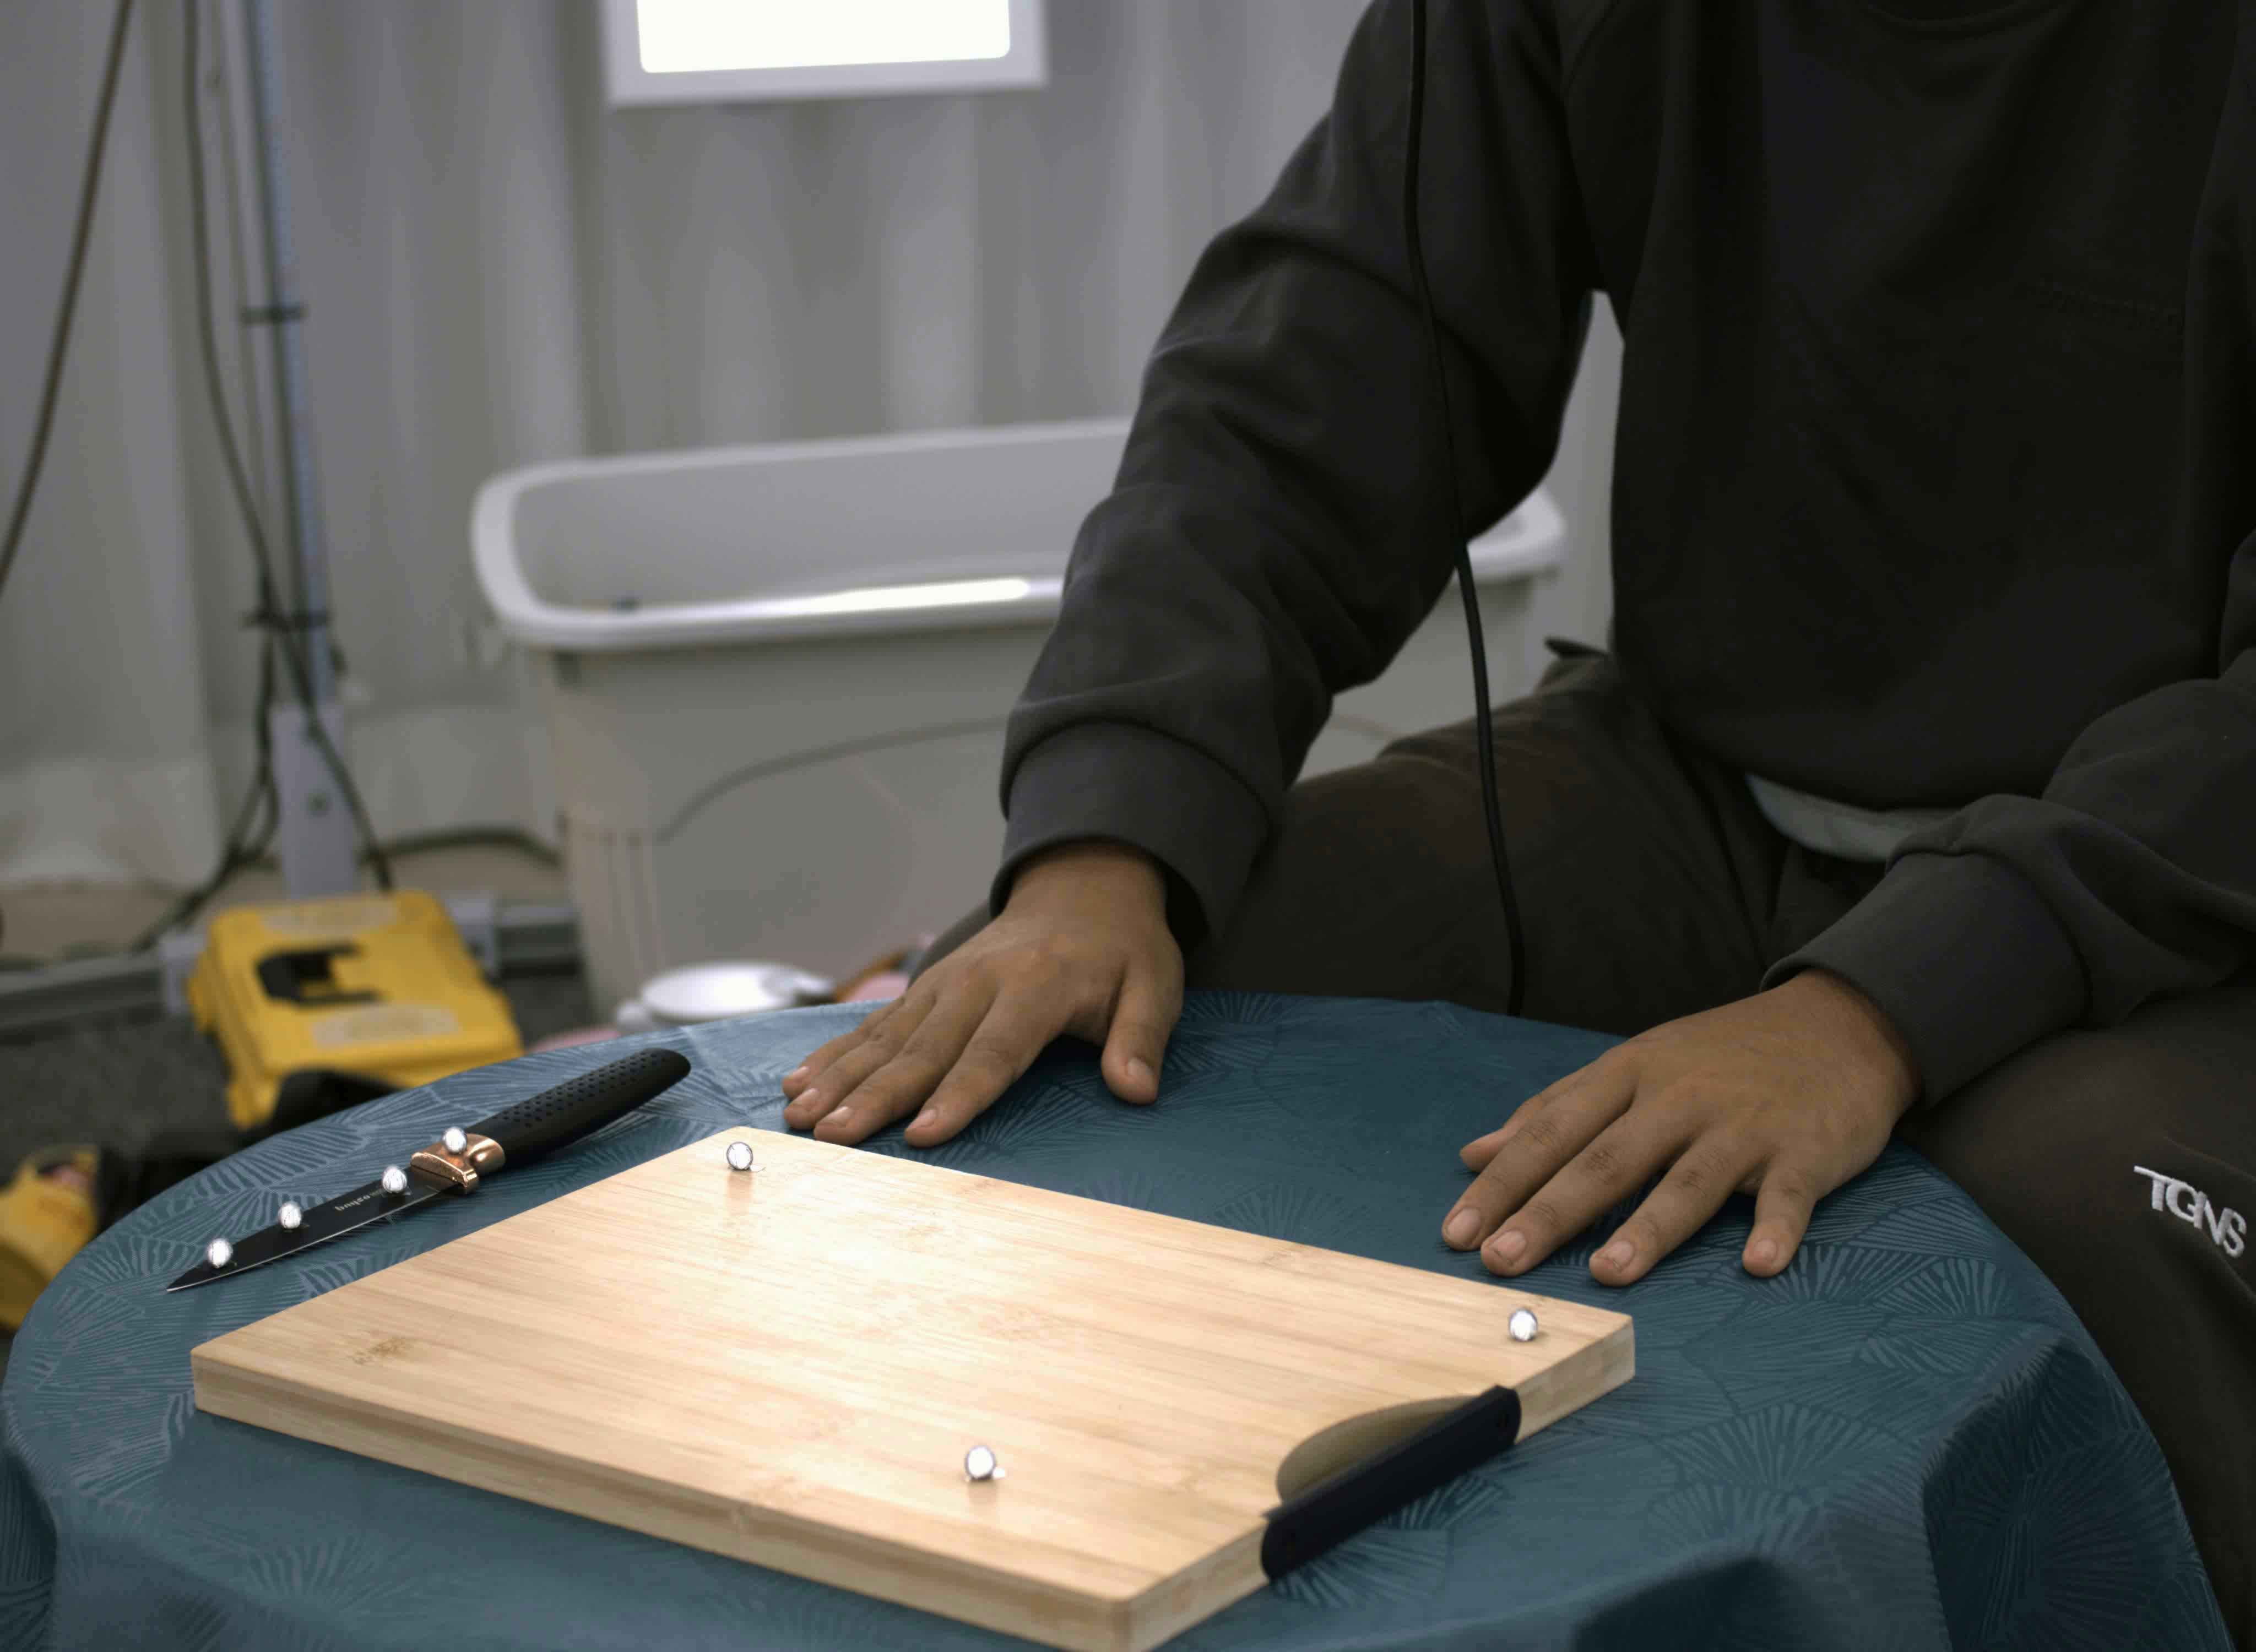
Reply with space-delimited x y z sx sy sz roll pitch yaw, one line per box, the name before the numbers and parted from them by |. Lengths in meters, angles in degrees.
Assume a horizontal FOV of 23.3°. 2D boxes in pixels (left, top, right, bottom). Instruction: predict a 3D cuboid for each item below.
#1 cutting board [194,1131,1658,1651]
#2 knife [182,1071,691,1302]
cutting board | -0.058 0.155 1.547 0.350 0.023 0.250 9 19 37
knife | -0.218 0.114 1.739 0.026 0.017 0.225 18 25 36
